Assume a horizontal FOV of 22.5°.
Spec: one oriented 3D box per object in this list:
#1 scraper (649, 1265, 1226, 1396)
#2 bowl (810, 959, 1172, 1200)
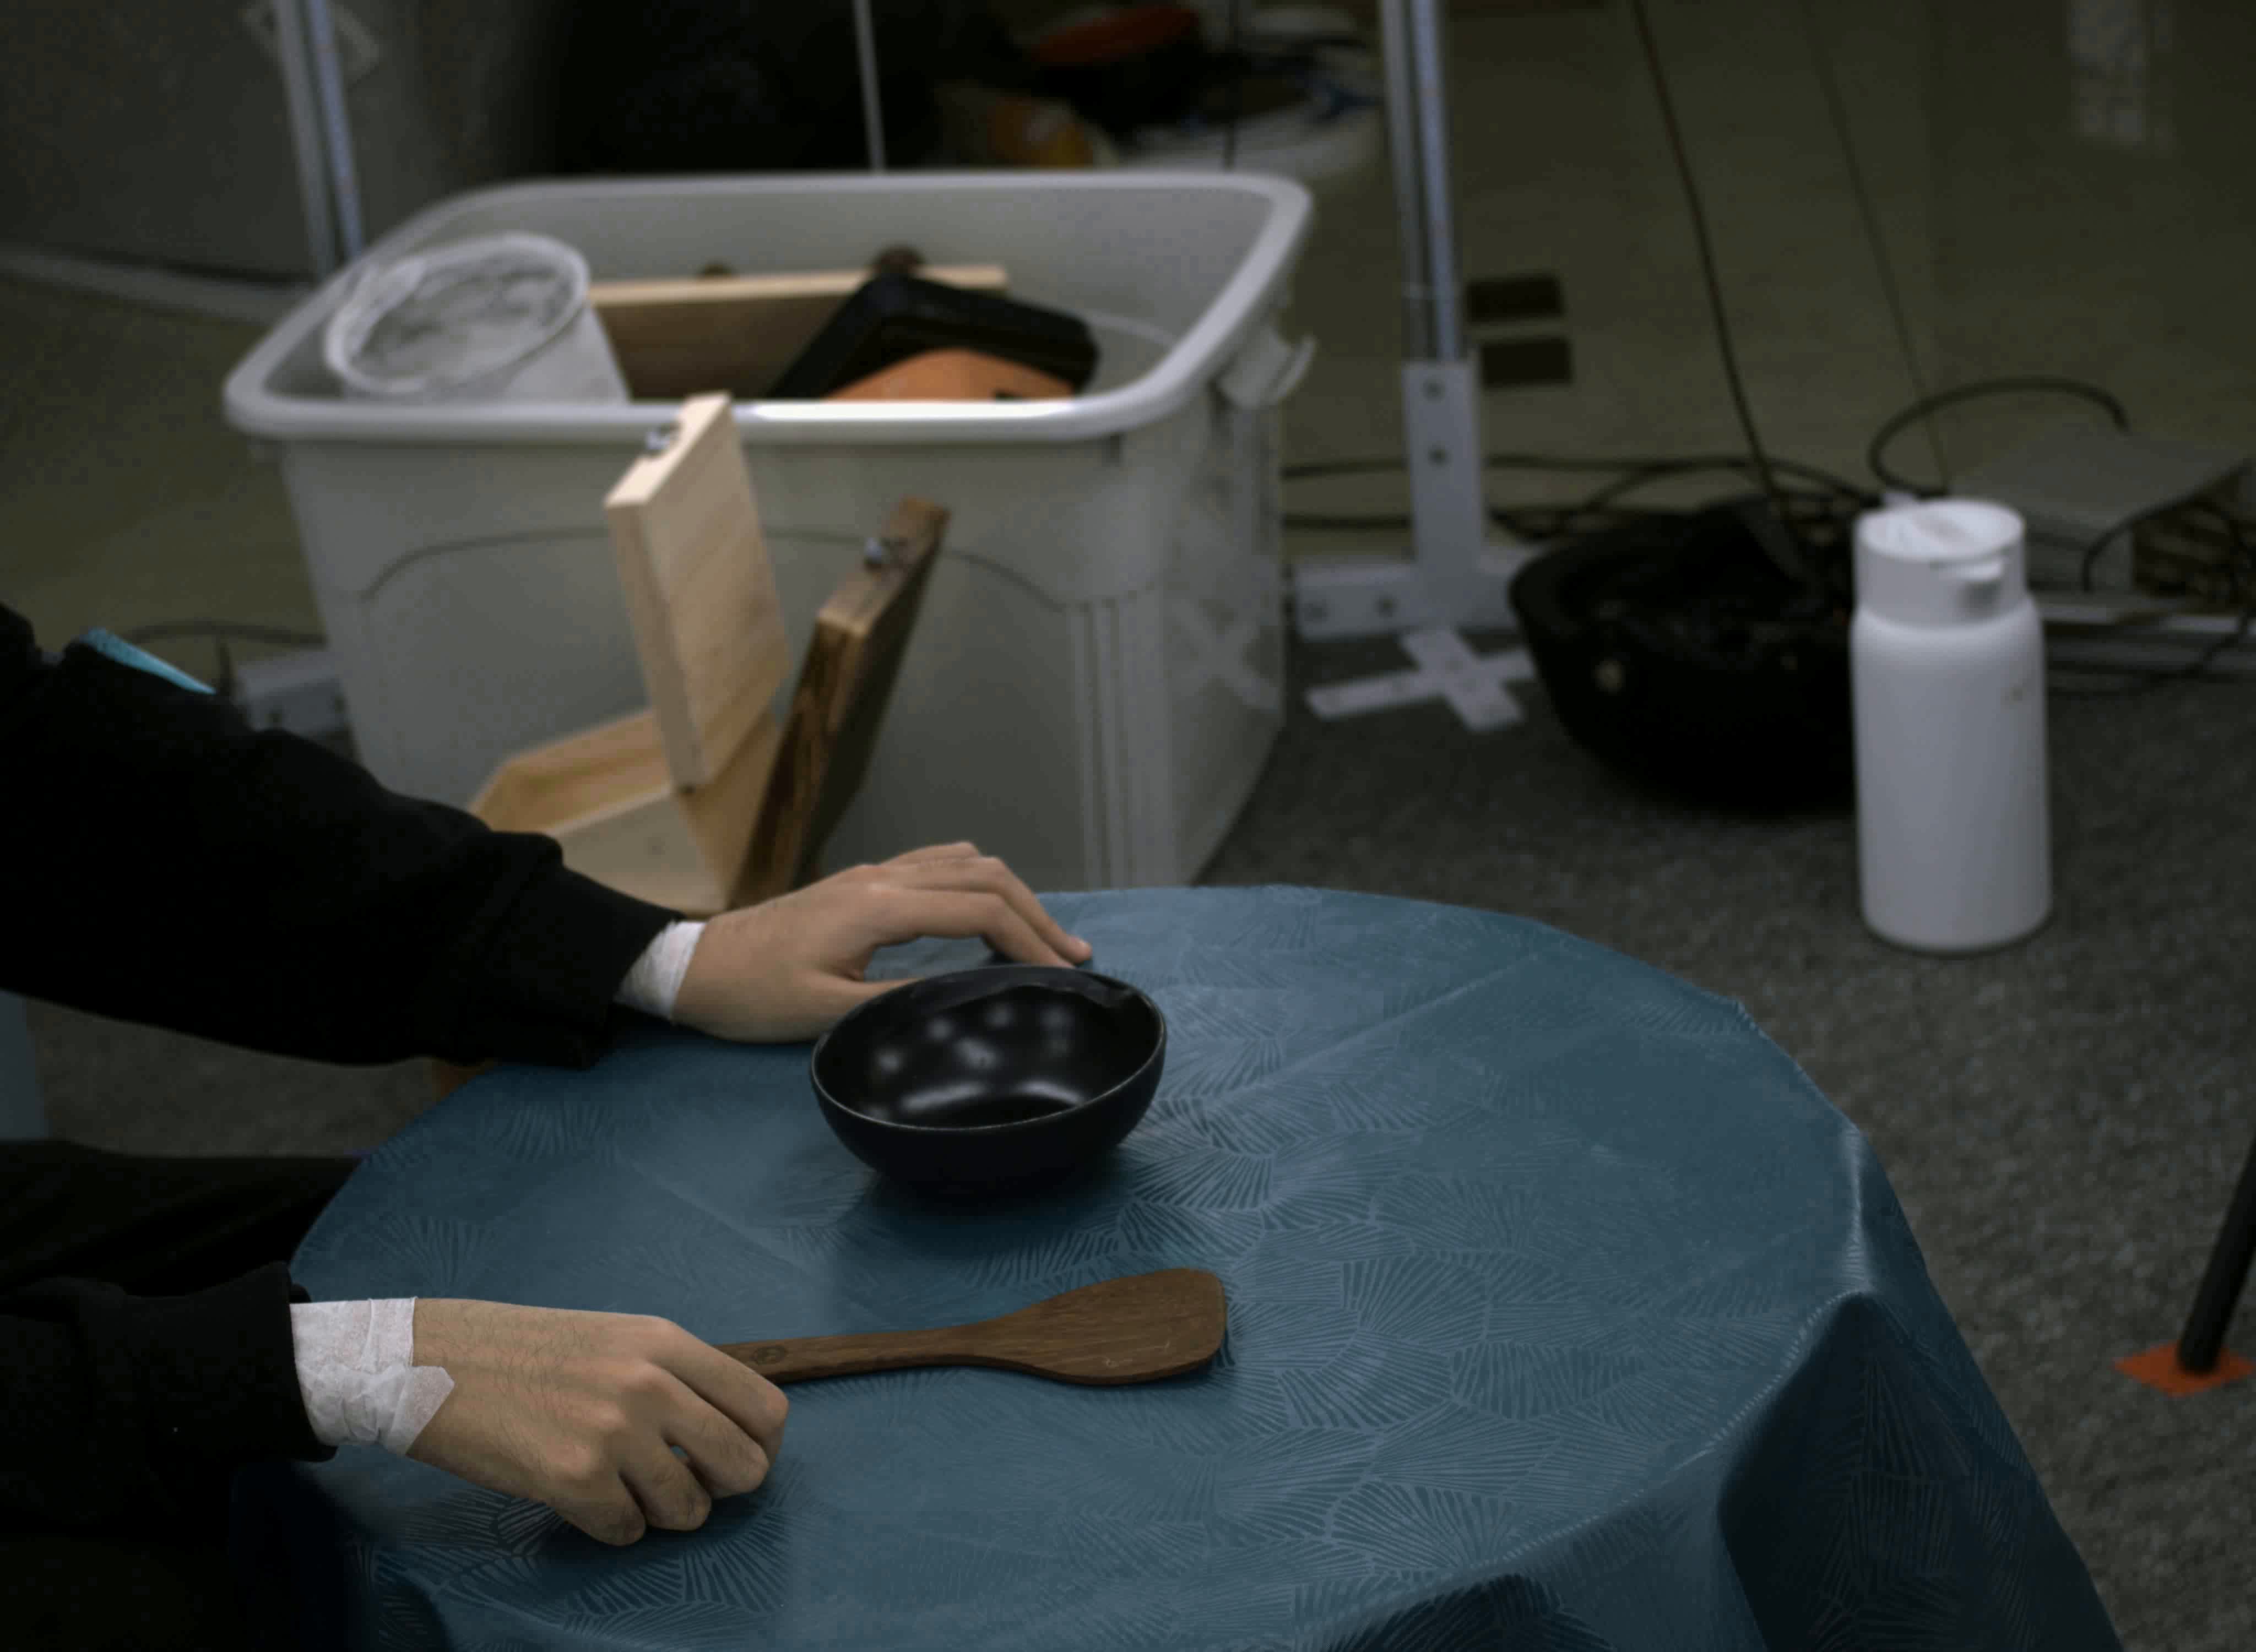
[{"bbox_3d":[-0.069,0.189,2.054,0.211,0.011,0.075,-6,23,3],"label":"scraper"},{"bbox_3d":[-0.051,0.105,2.179,0.140,0.050,0.138,-4,28,2],"label":"bowl"}]
